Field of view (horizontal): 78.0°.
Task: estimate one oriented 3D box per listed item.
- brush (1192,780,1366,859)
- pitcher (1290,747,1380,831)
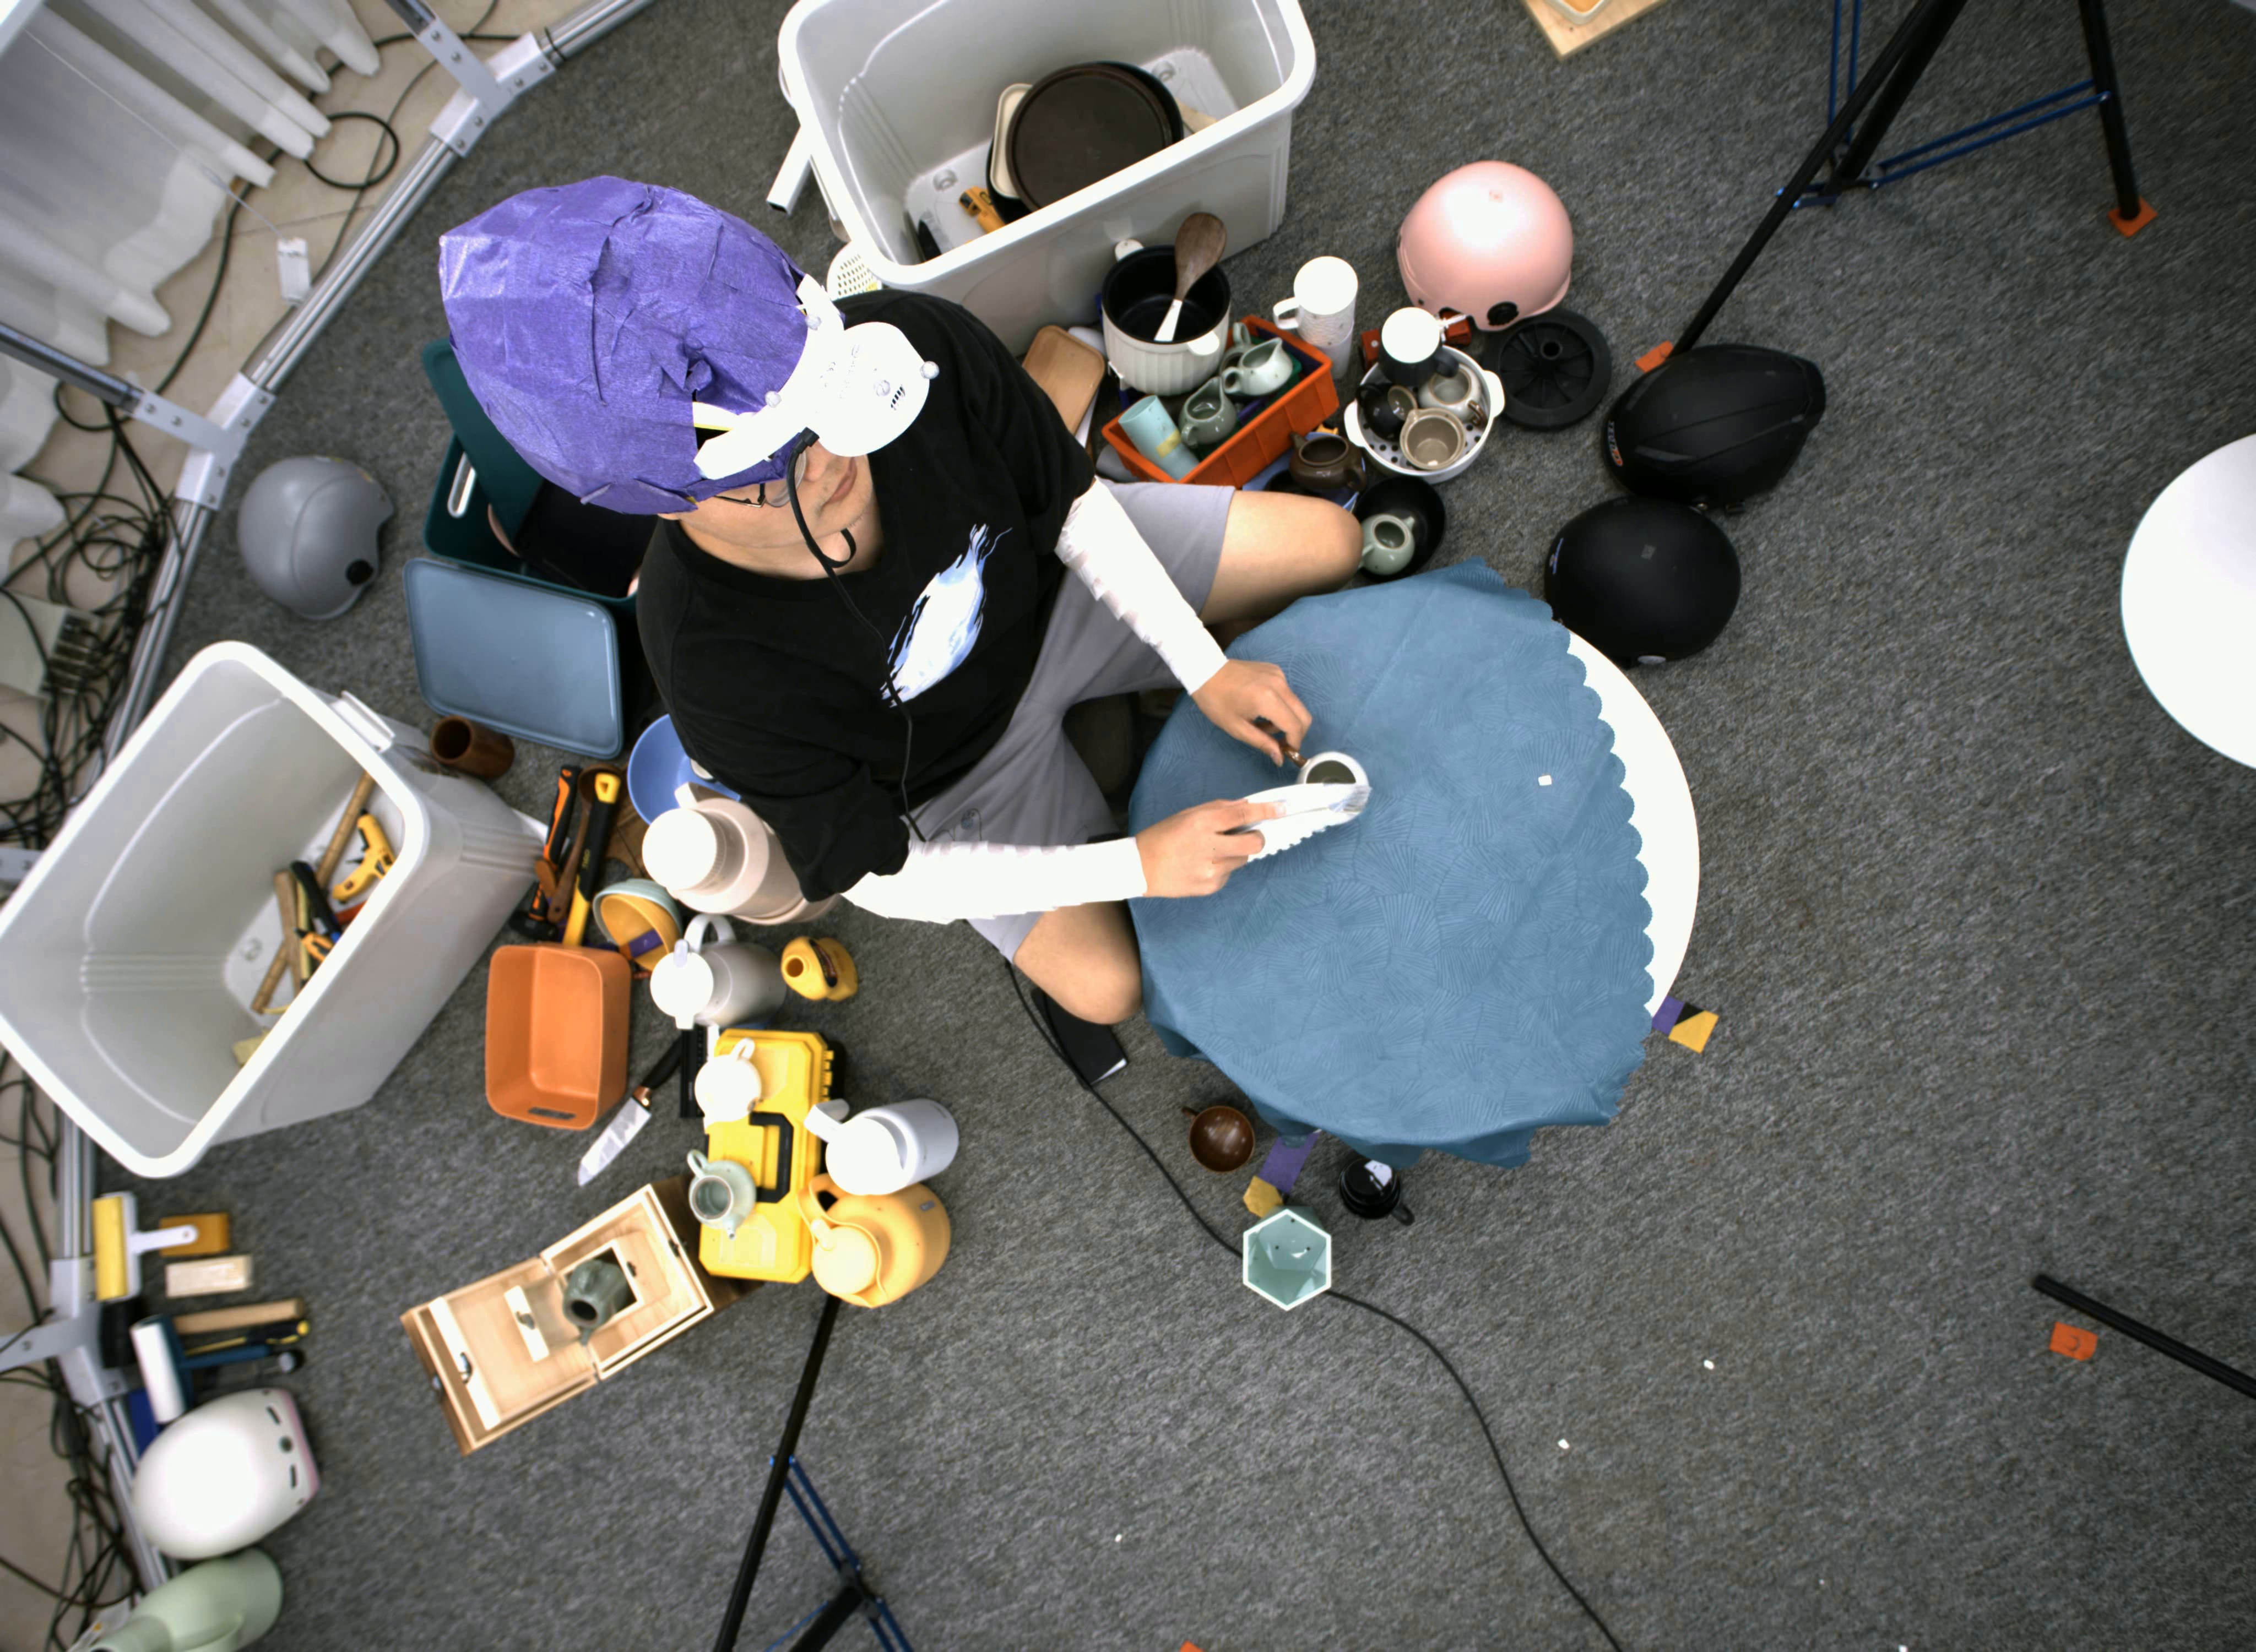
[{"bbox_3d":[0.145,-0.013,1.369,0.177,0.093,0.061,-18,87,25],"label":"brush"},{"bbox_3d":[0.213,-0.039,1.432,0.119,0.088,0.076,43,90,9],"label":"pitcher"}]
